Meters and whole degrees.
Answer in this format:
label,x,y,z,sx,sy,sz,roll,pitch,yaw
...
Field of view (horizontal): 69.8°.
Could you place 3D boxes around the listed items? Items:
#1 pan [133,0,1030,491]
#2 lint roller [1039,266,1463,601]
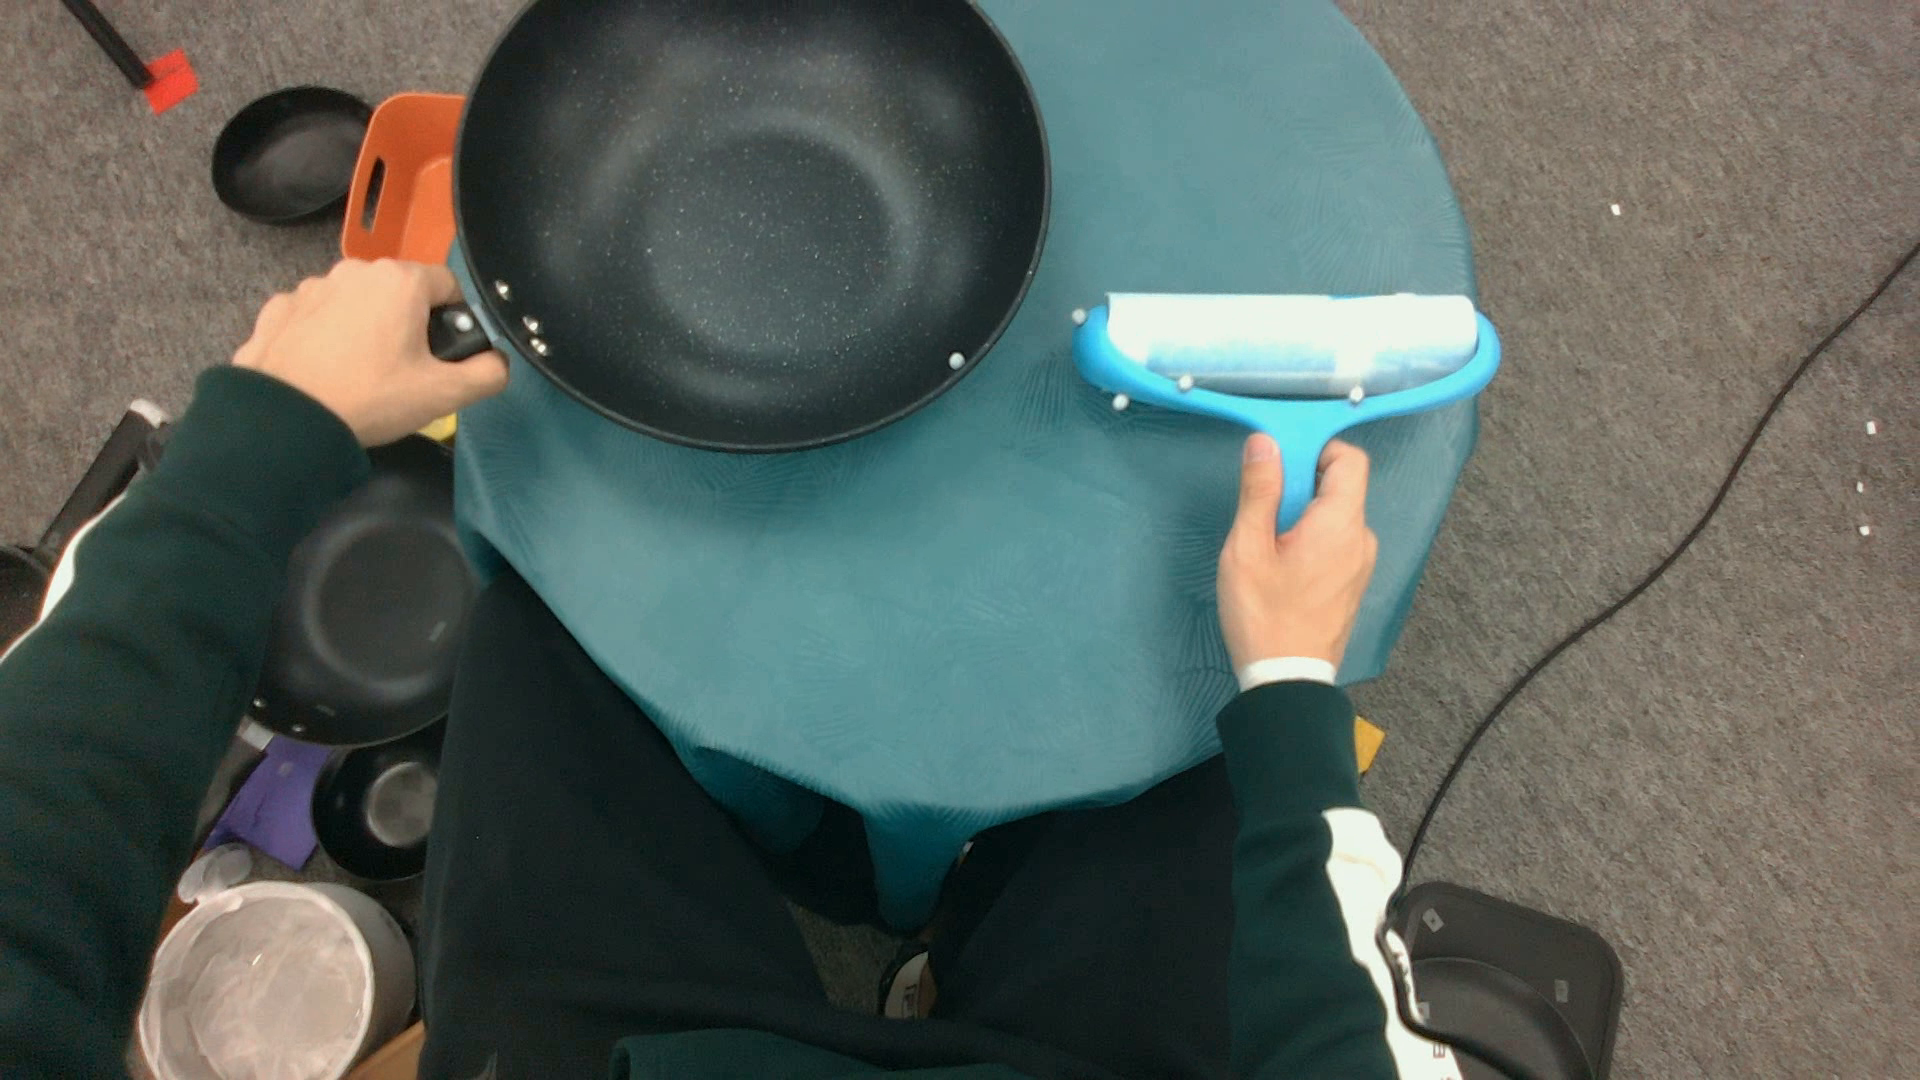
label,x,y,z,sx,sy,sz,roll,pitch,yaw
pan,-0.186,-0.146,0.730,0.478,0.111,0.310,-35,79,-13
lint roller,0.162,-0.062,0.735,0.229,0.068,0.180,-4,75,-4
